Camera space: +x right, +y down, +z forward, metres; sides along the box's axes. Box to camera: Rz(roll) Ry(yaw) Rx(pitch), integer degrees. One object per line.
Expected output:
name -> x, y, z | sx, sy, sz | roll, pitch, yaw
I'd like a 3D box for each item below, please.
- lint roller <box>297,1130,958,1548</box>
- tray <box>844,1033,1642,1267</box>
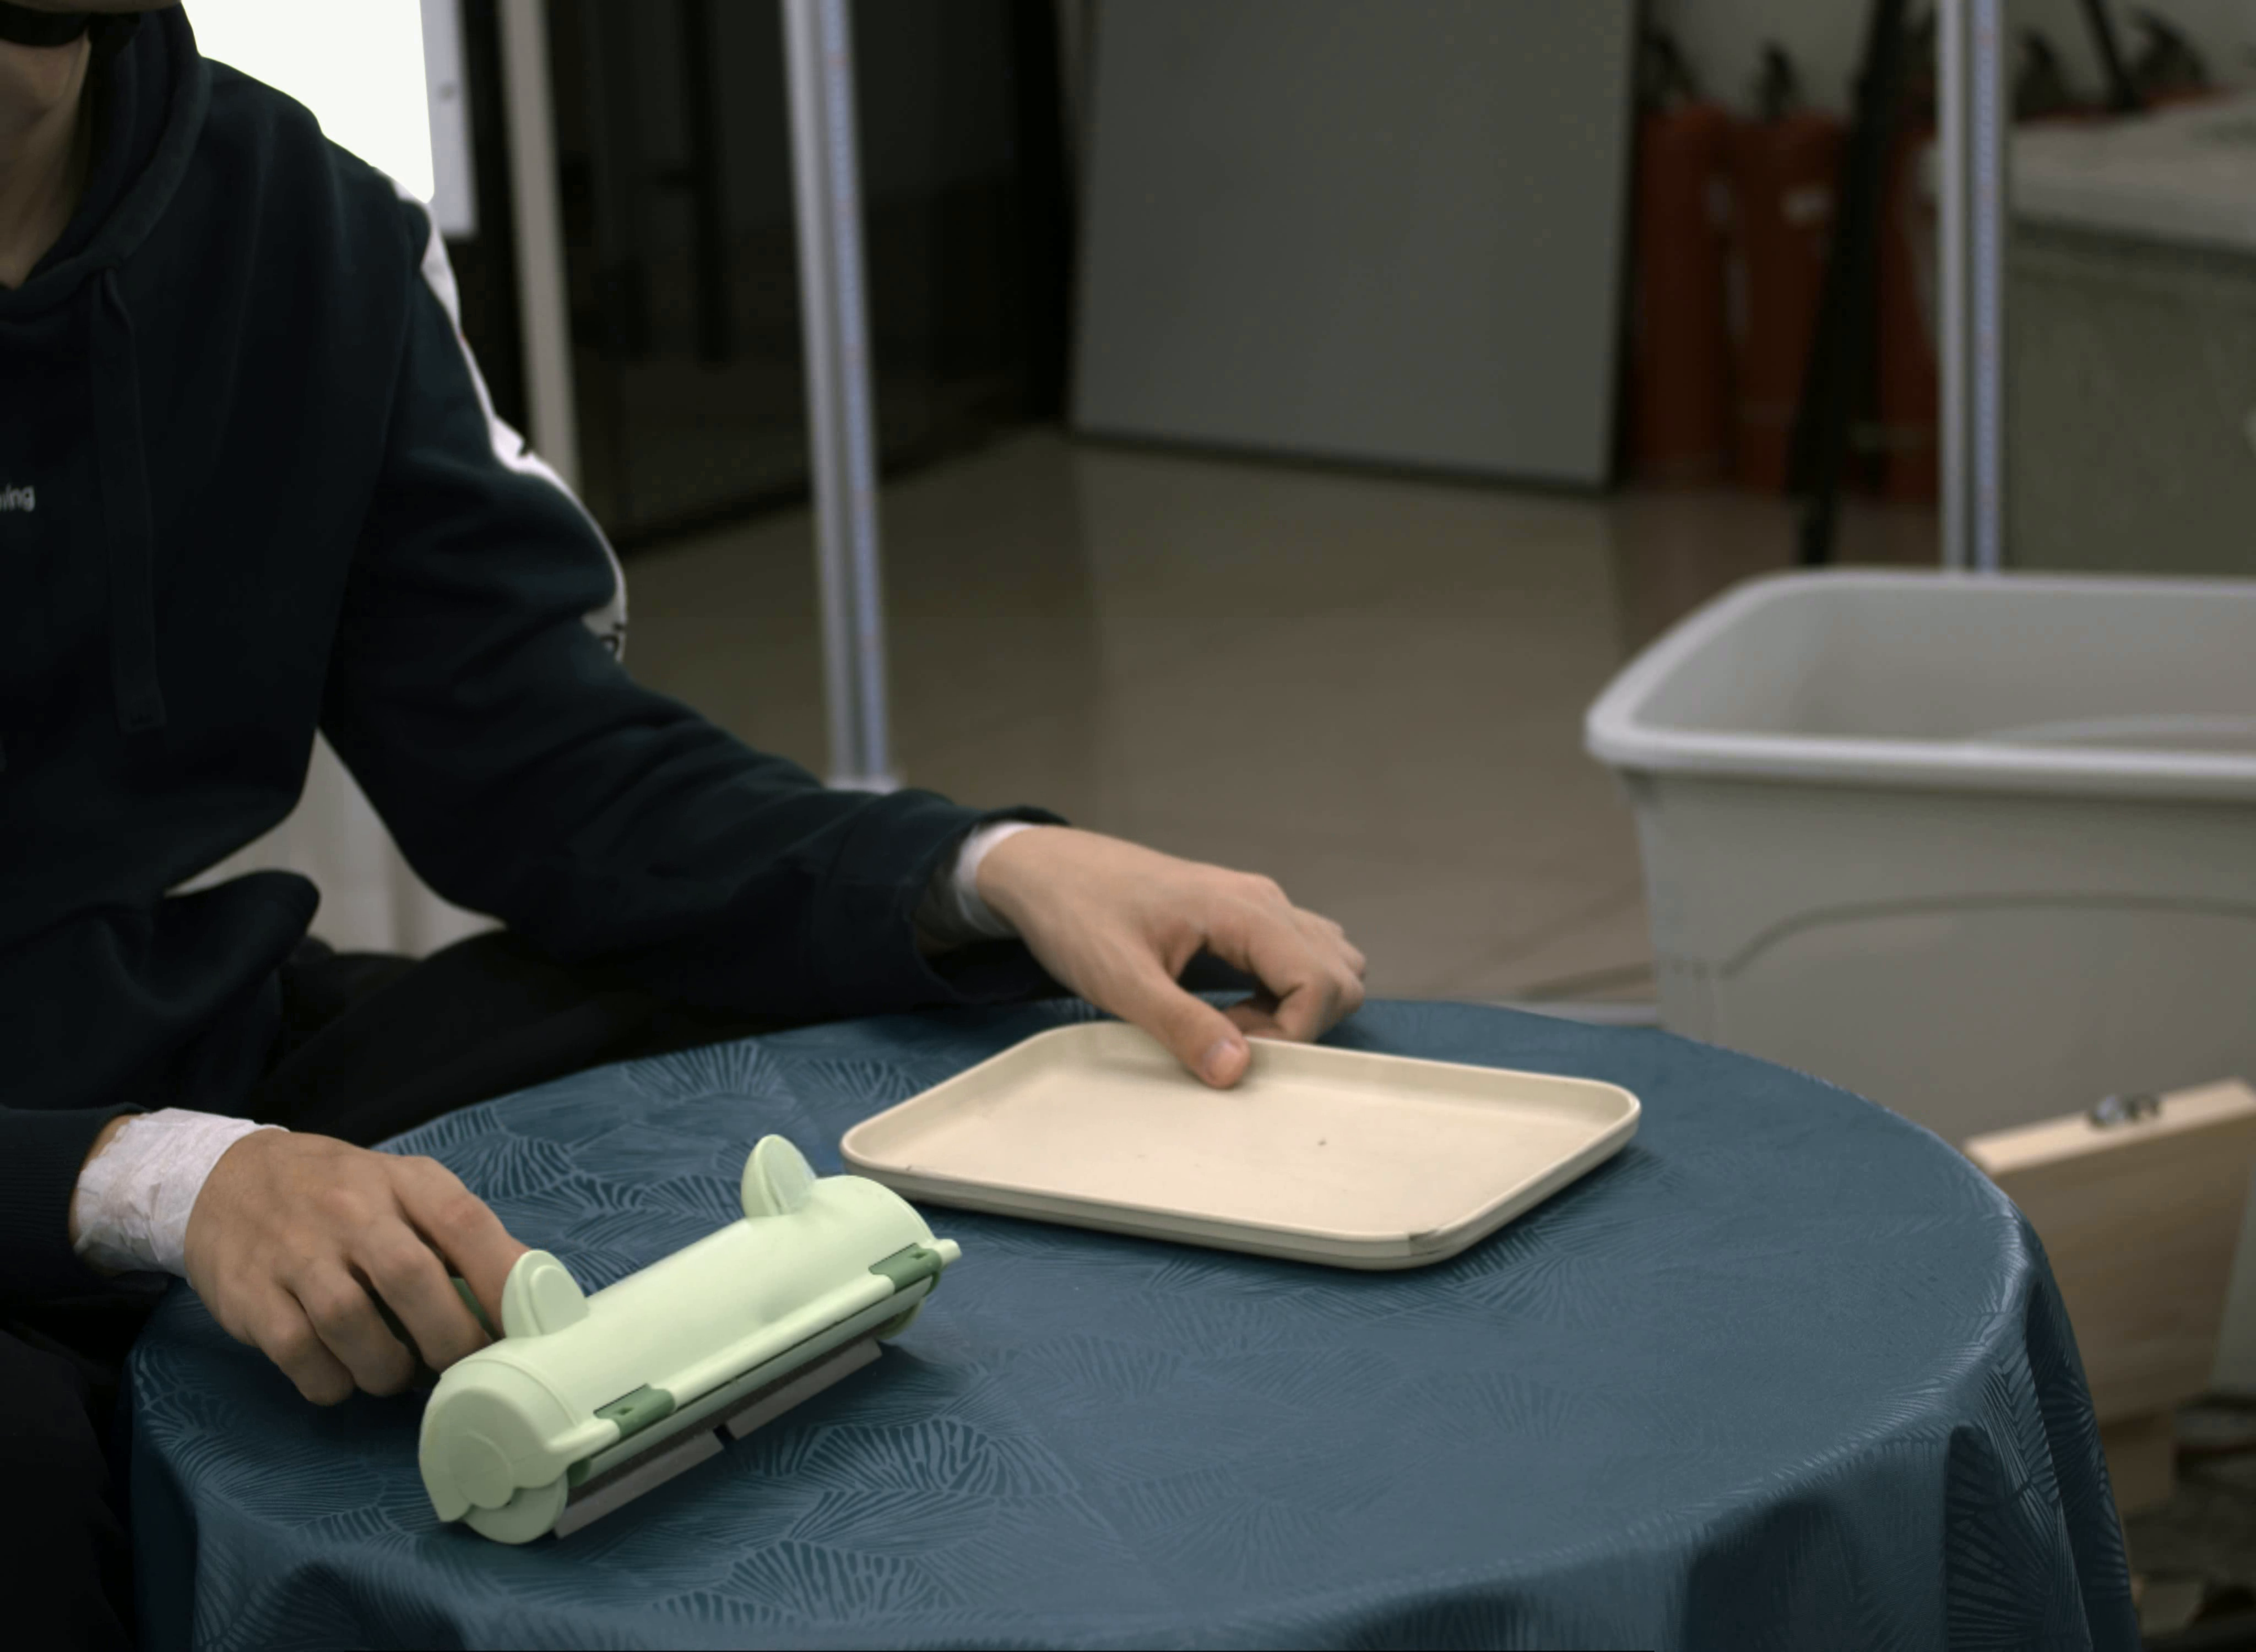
lint roller -> -0.174, 0.137, 1.594 | 0.184, 0.083, 0.195 | 10, 19, 32
tray -> 0.038, 0.107, 1.783 | 0.241, 0.017, 0.168 | 5, 16, 33
